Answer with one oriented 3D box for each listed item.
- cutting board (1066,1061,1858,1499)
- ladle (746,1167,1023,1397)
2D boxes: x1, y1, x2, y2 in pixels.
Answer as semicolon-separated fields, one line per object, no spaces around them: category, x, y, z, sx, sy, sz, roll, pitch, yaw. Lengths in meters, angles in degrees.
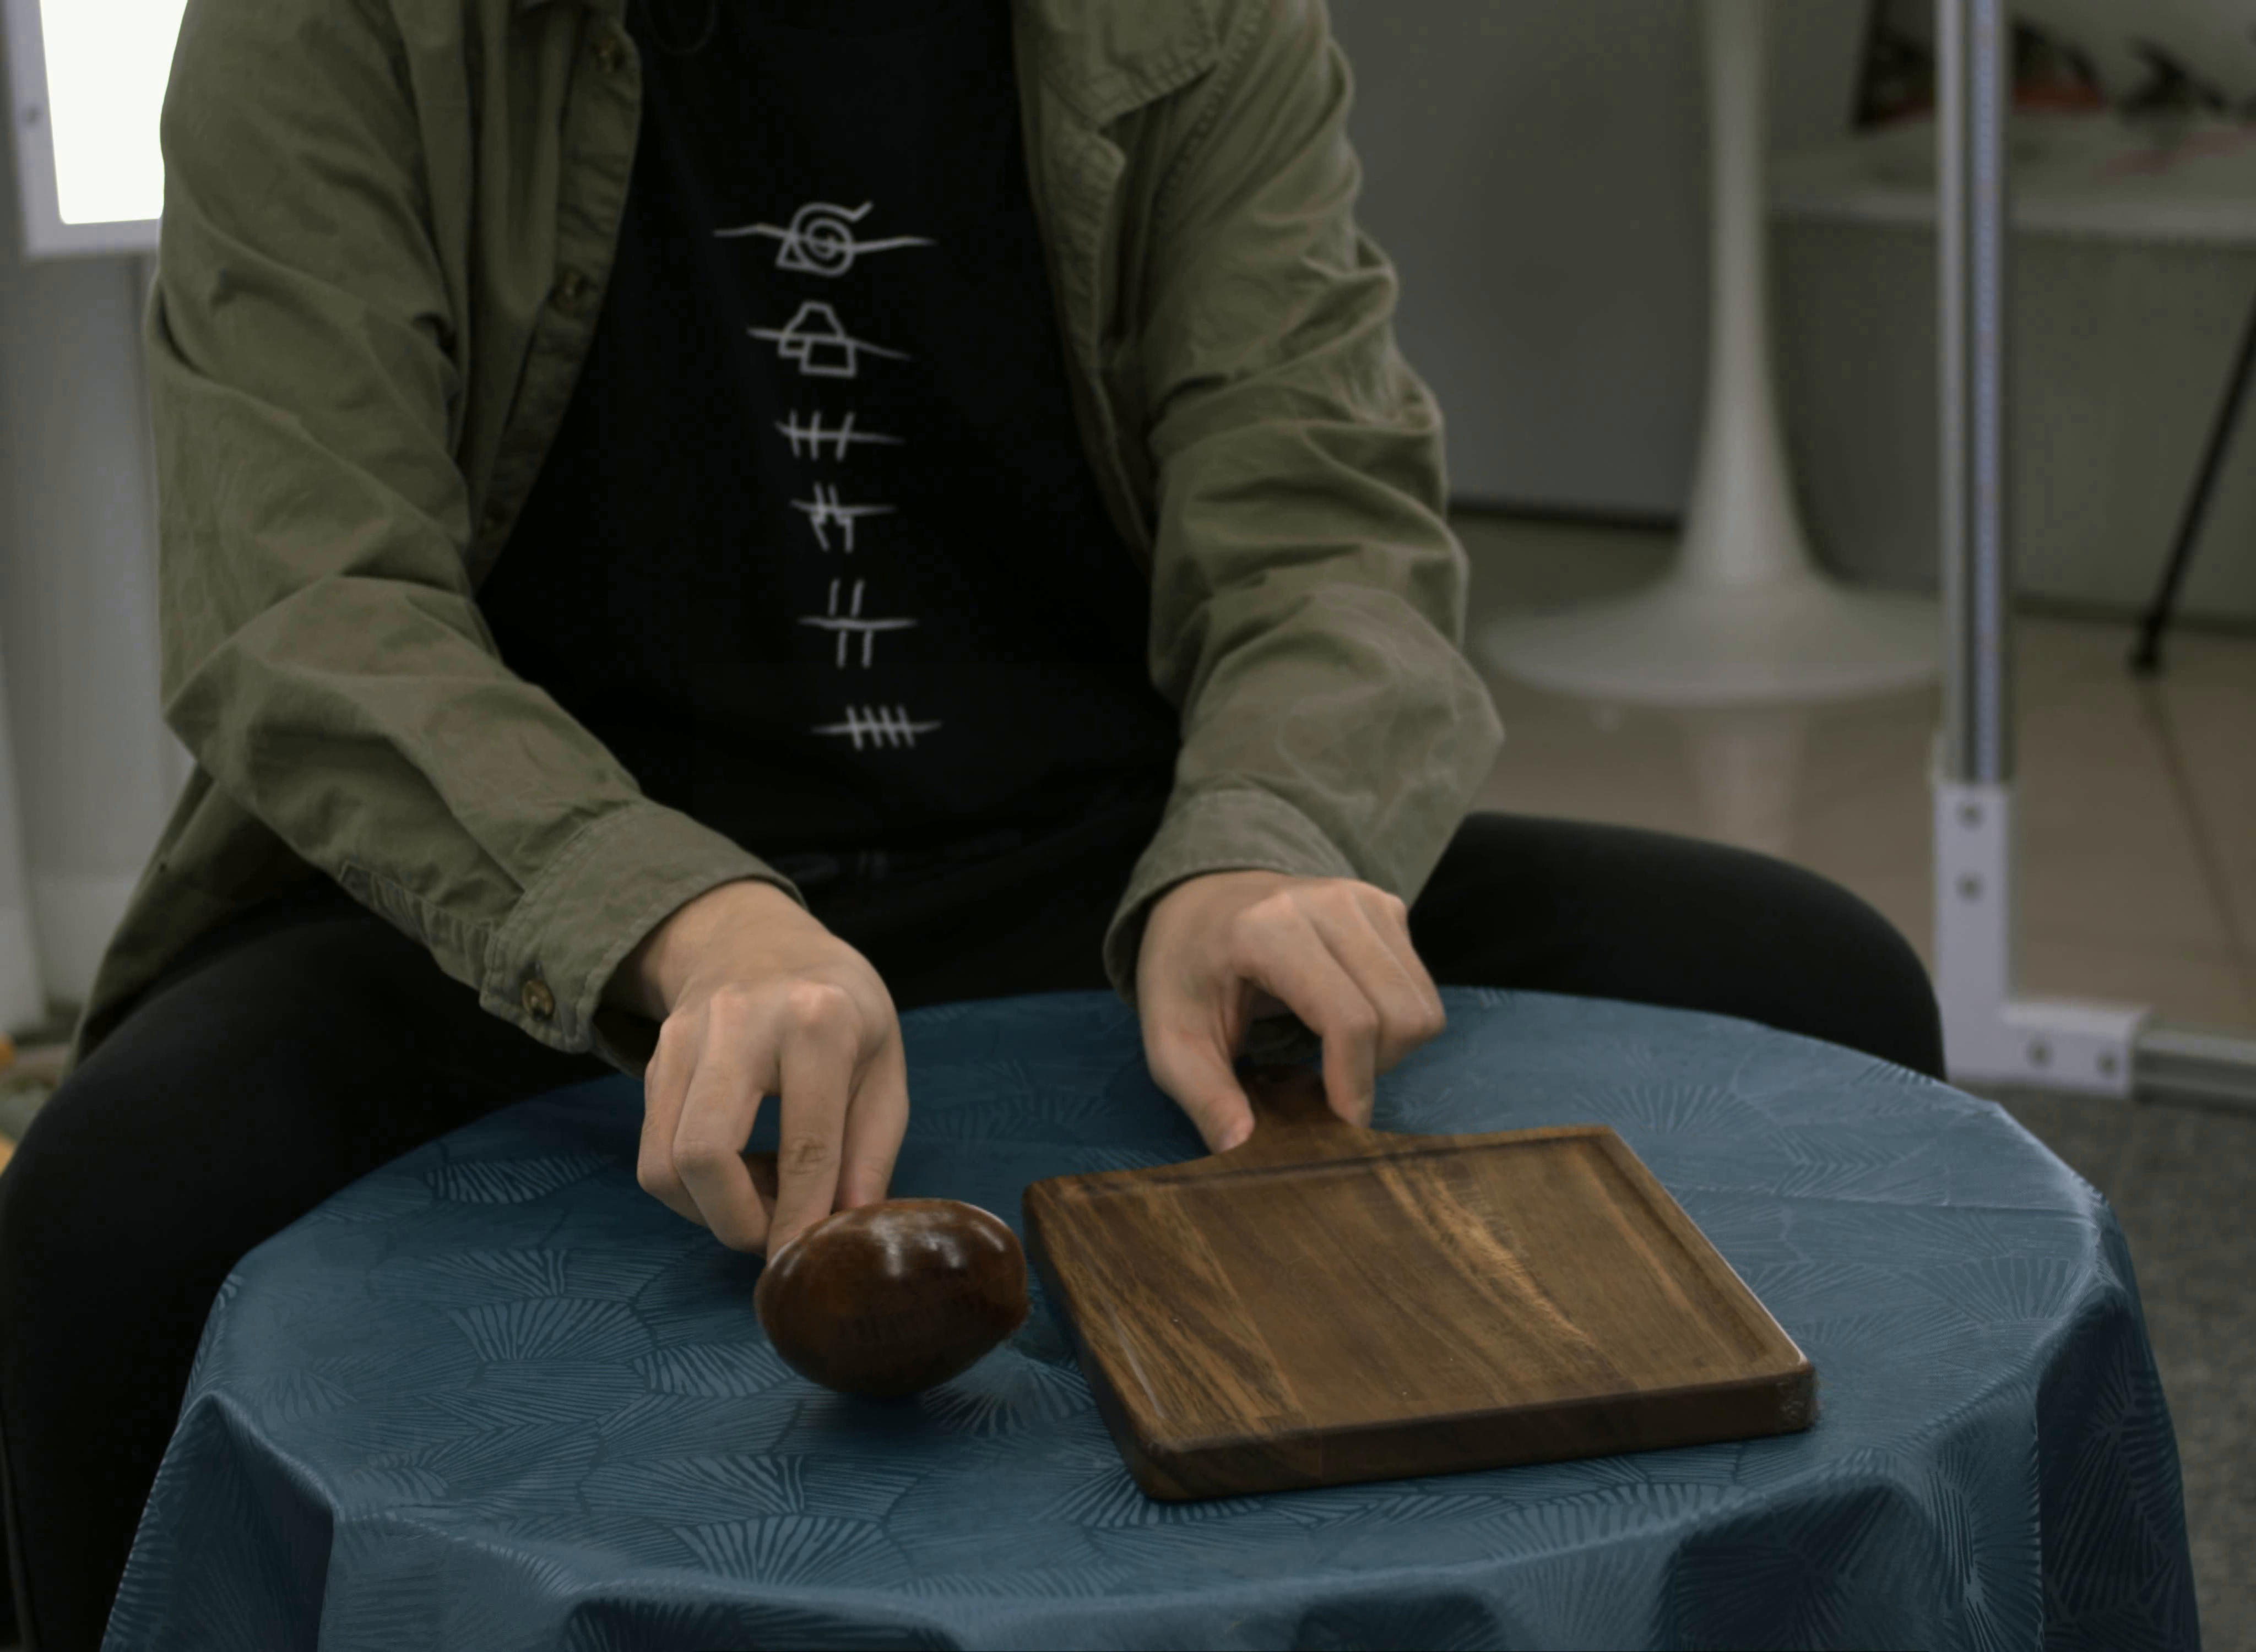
cutting board;0.087;0.130;1.664;0.198;0.023;0.354;-5;14;-6
ladle;-0.091;0.114;1.663;0.080;0.077;0.276;1;11;-12
